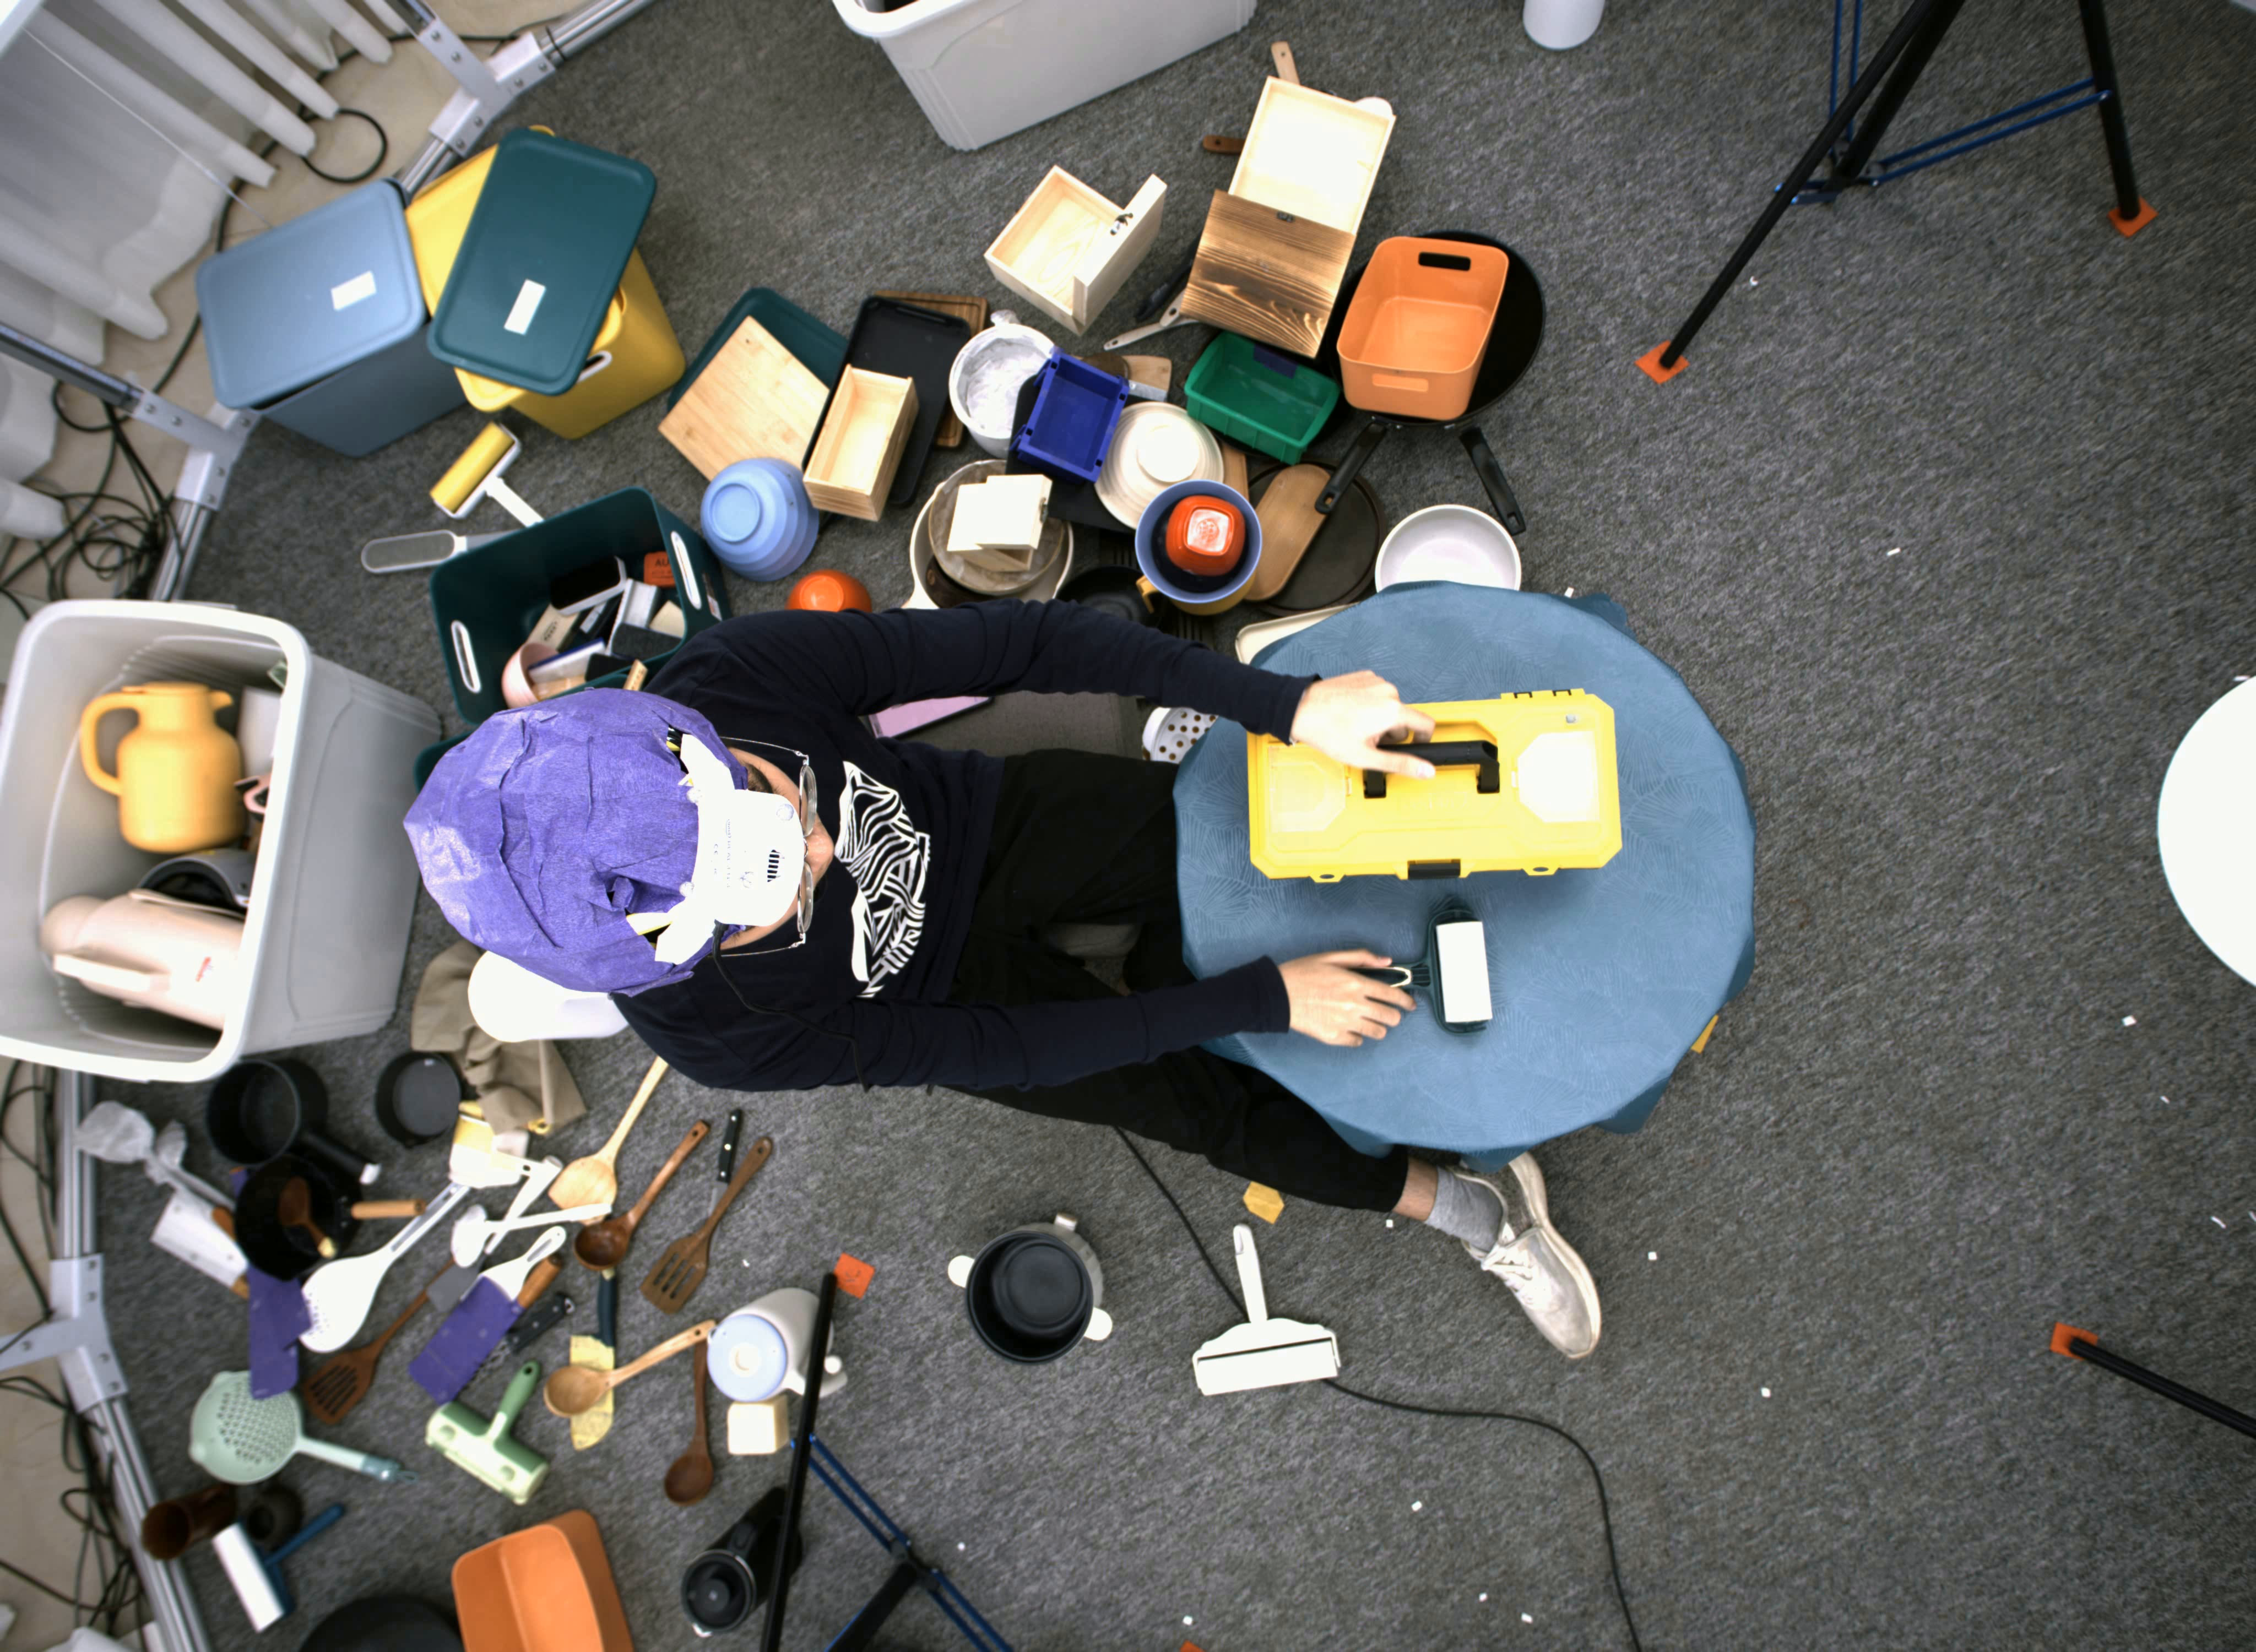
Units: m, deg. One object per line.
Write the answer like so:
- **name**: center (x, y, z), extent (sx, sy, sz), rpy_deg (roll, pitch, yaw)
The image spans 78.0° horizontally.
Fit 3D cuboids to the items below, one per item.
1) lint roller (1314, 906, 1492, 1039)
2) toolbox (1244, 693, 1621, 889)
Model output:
- **lint roller**: center (0.280, 0.156, 1.433), extent (0.181, 0.048, 0.134), rpy_deg (-6, 86, 14)
- **toolbox**: center (0.298, -0.031, 1.372), extent (0.353, 0.173, 0.180), rpy_deg (-3, 84, 11)
